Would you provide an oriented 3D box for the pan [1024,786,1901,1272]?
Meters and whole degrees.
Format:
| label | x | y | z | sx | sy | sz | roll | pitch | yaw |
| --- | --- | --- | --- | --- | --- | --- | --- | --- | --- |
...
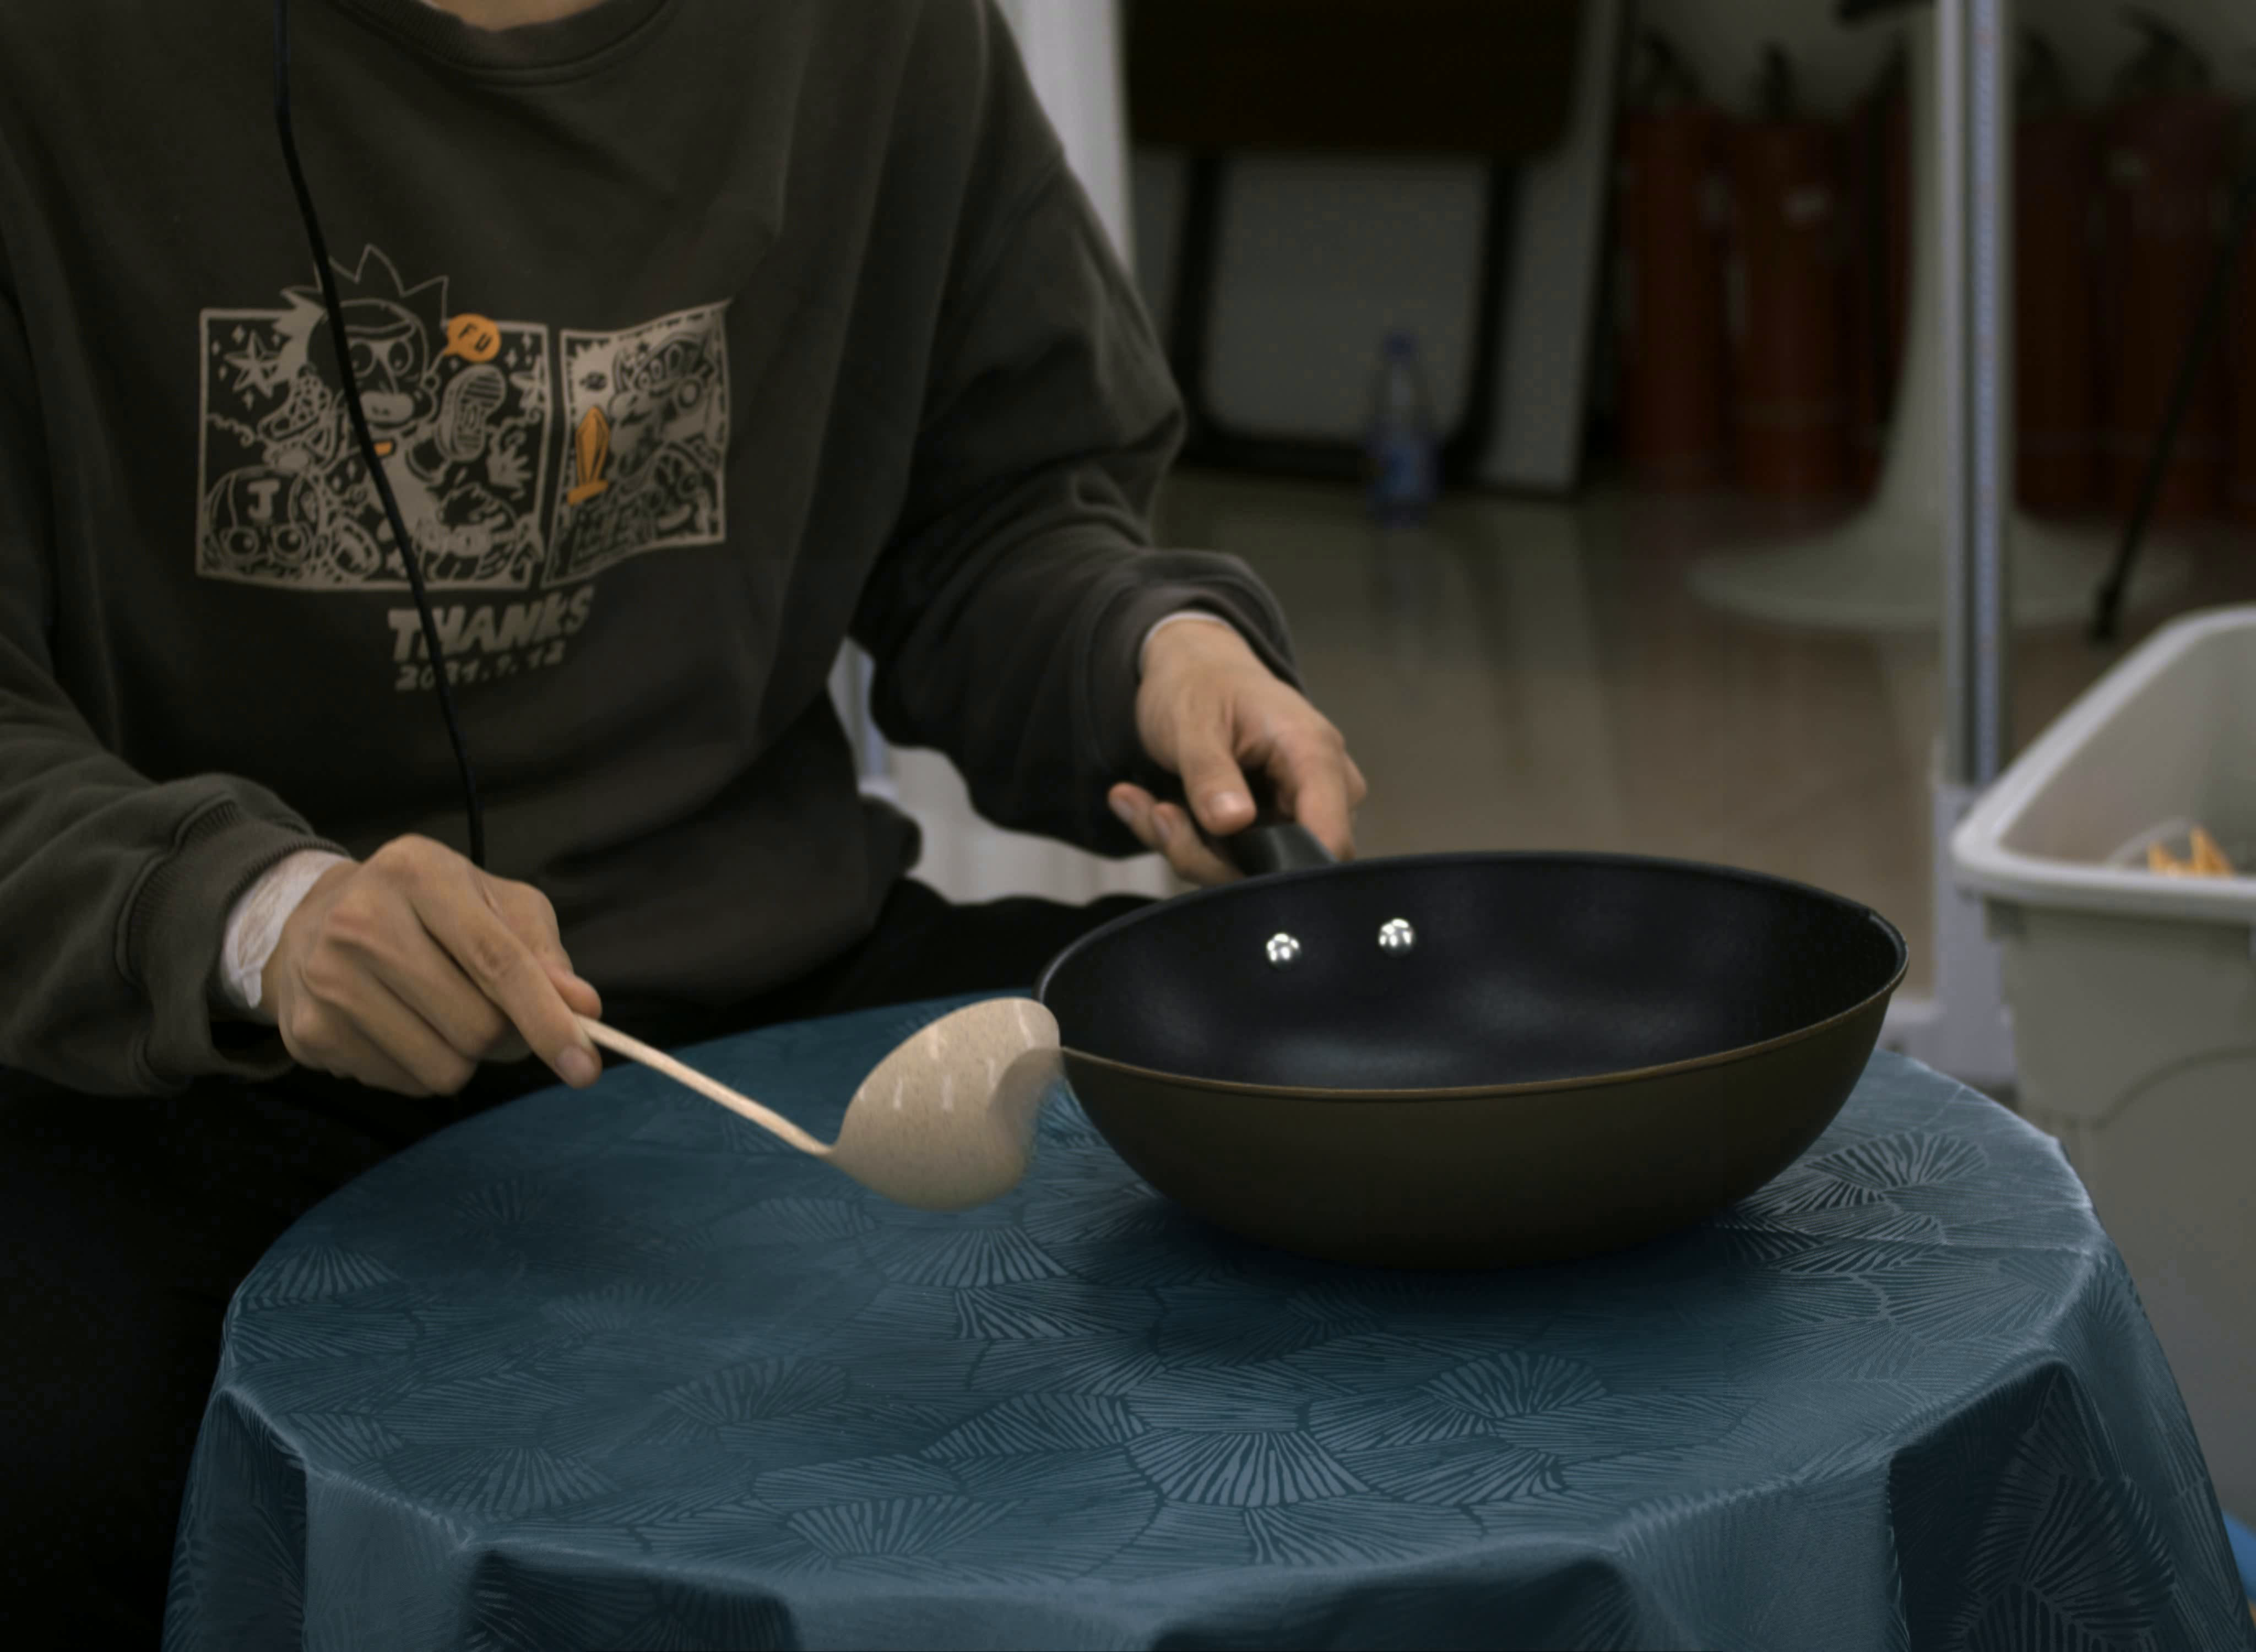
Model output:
| label | x | y | z | sx | sy | sz | roll | pitch | yaw |
| --- | --- | --- | --- | --- | --- | --- | --- | --- | --- |
| pan | 0.082 | 0.065 | 1.813 | 0.282 | 0.088 | 0.467 | -8 | 13 | -15 |

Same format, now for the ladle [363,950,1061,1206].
| label | x | y | z | sx | sy | sz | roll | pitch | yaw |
| --- | --- | --- | --- | --- | --- | --- | --- | --- | --- |
| ladle | -0.129 | 0.048 | 1.657 | 0.256 | 0.073 | 0.071 | 21 | -7 | 35 |
